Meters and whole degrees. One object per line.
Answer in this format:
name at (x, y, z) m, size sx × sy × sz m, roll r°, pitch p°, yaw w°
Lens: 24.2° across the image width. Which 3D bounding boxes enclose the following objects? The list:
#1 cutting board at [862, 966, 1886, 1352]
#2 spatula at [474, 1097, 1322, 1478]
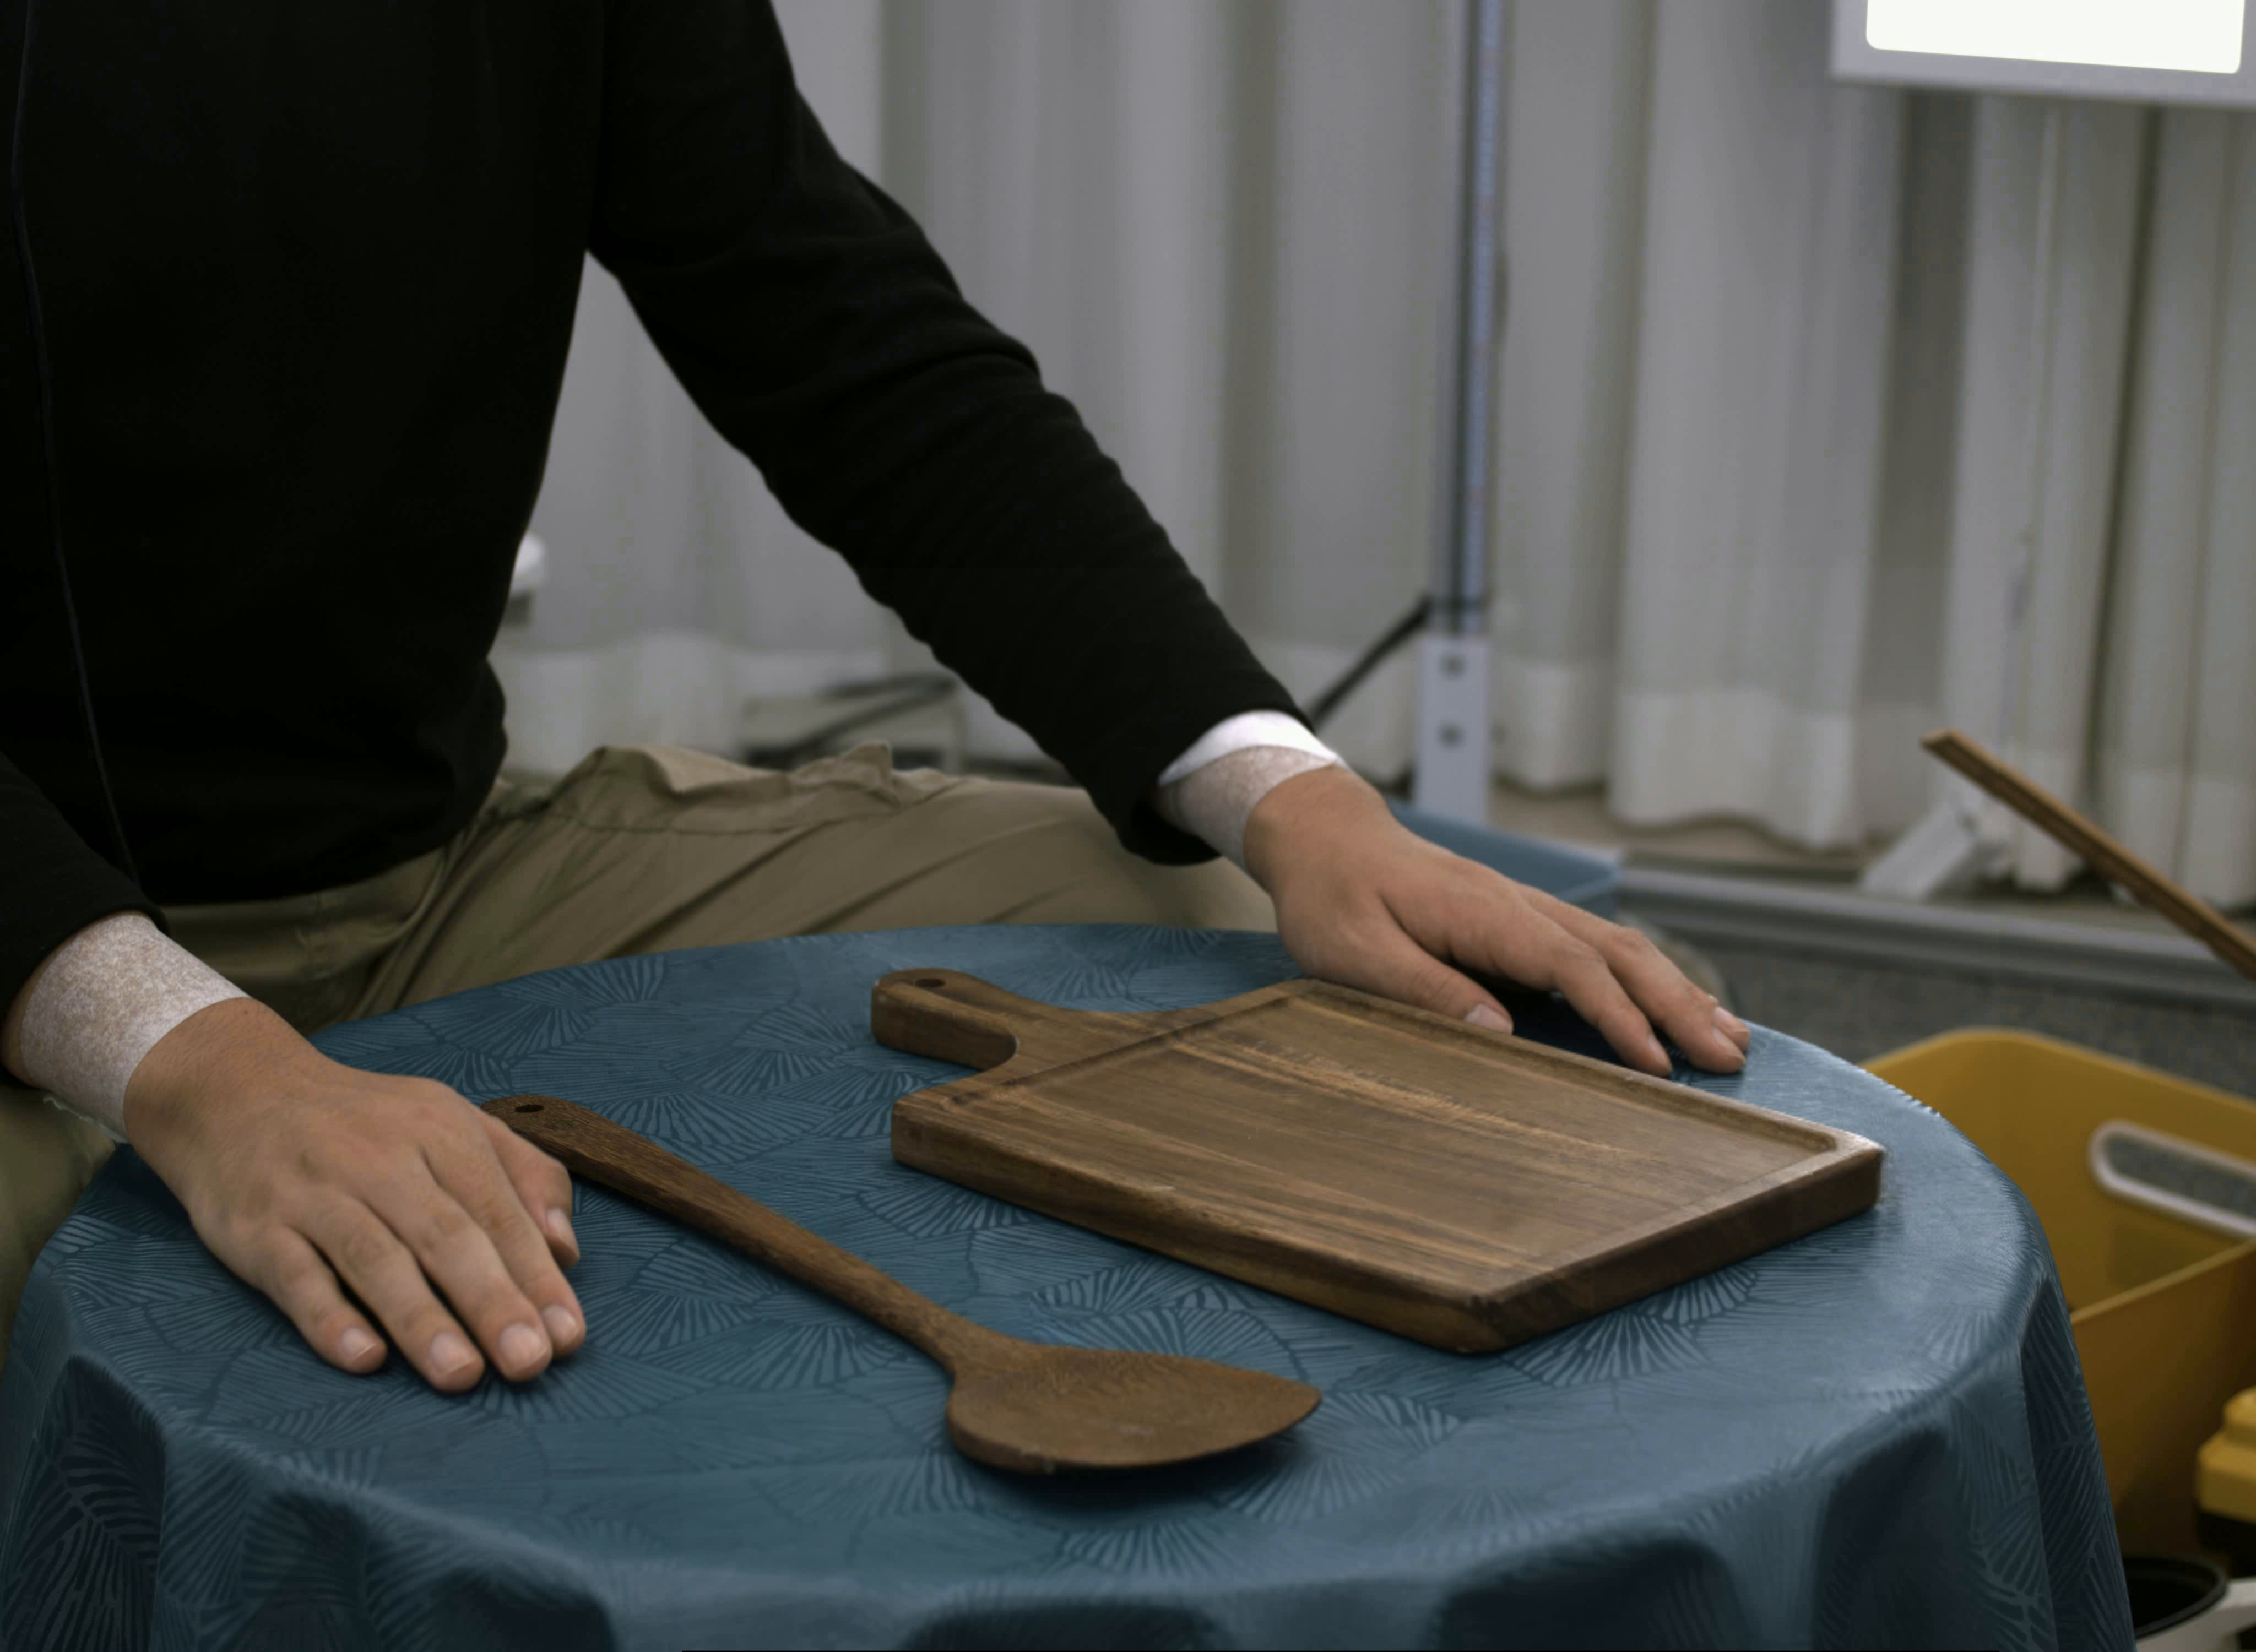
cutting board at (0.044, 0.090, 1.661) m, size 0.347 × 0.023 × 0.202 m, roll 15°, pitch 20°, yaw 42°
spatula at (-0.089, 0.128, 1.533) m, size 0.096 × 0.016 × 0.381 m, roll -10°, pitch 19°, yaw -36°
